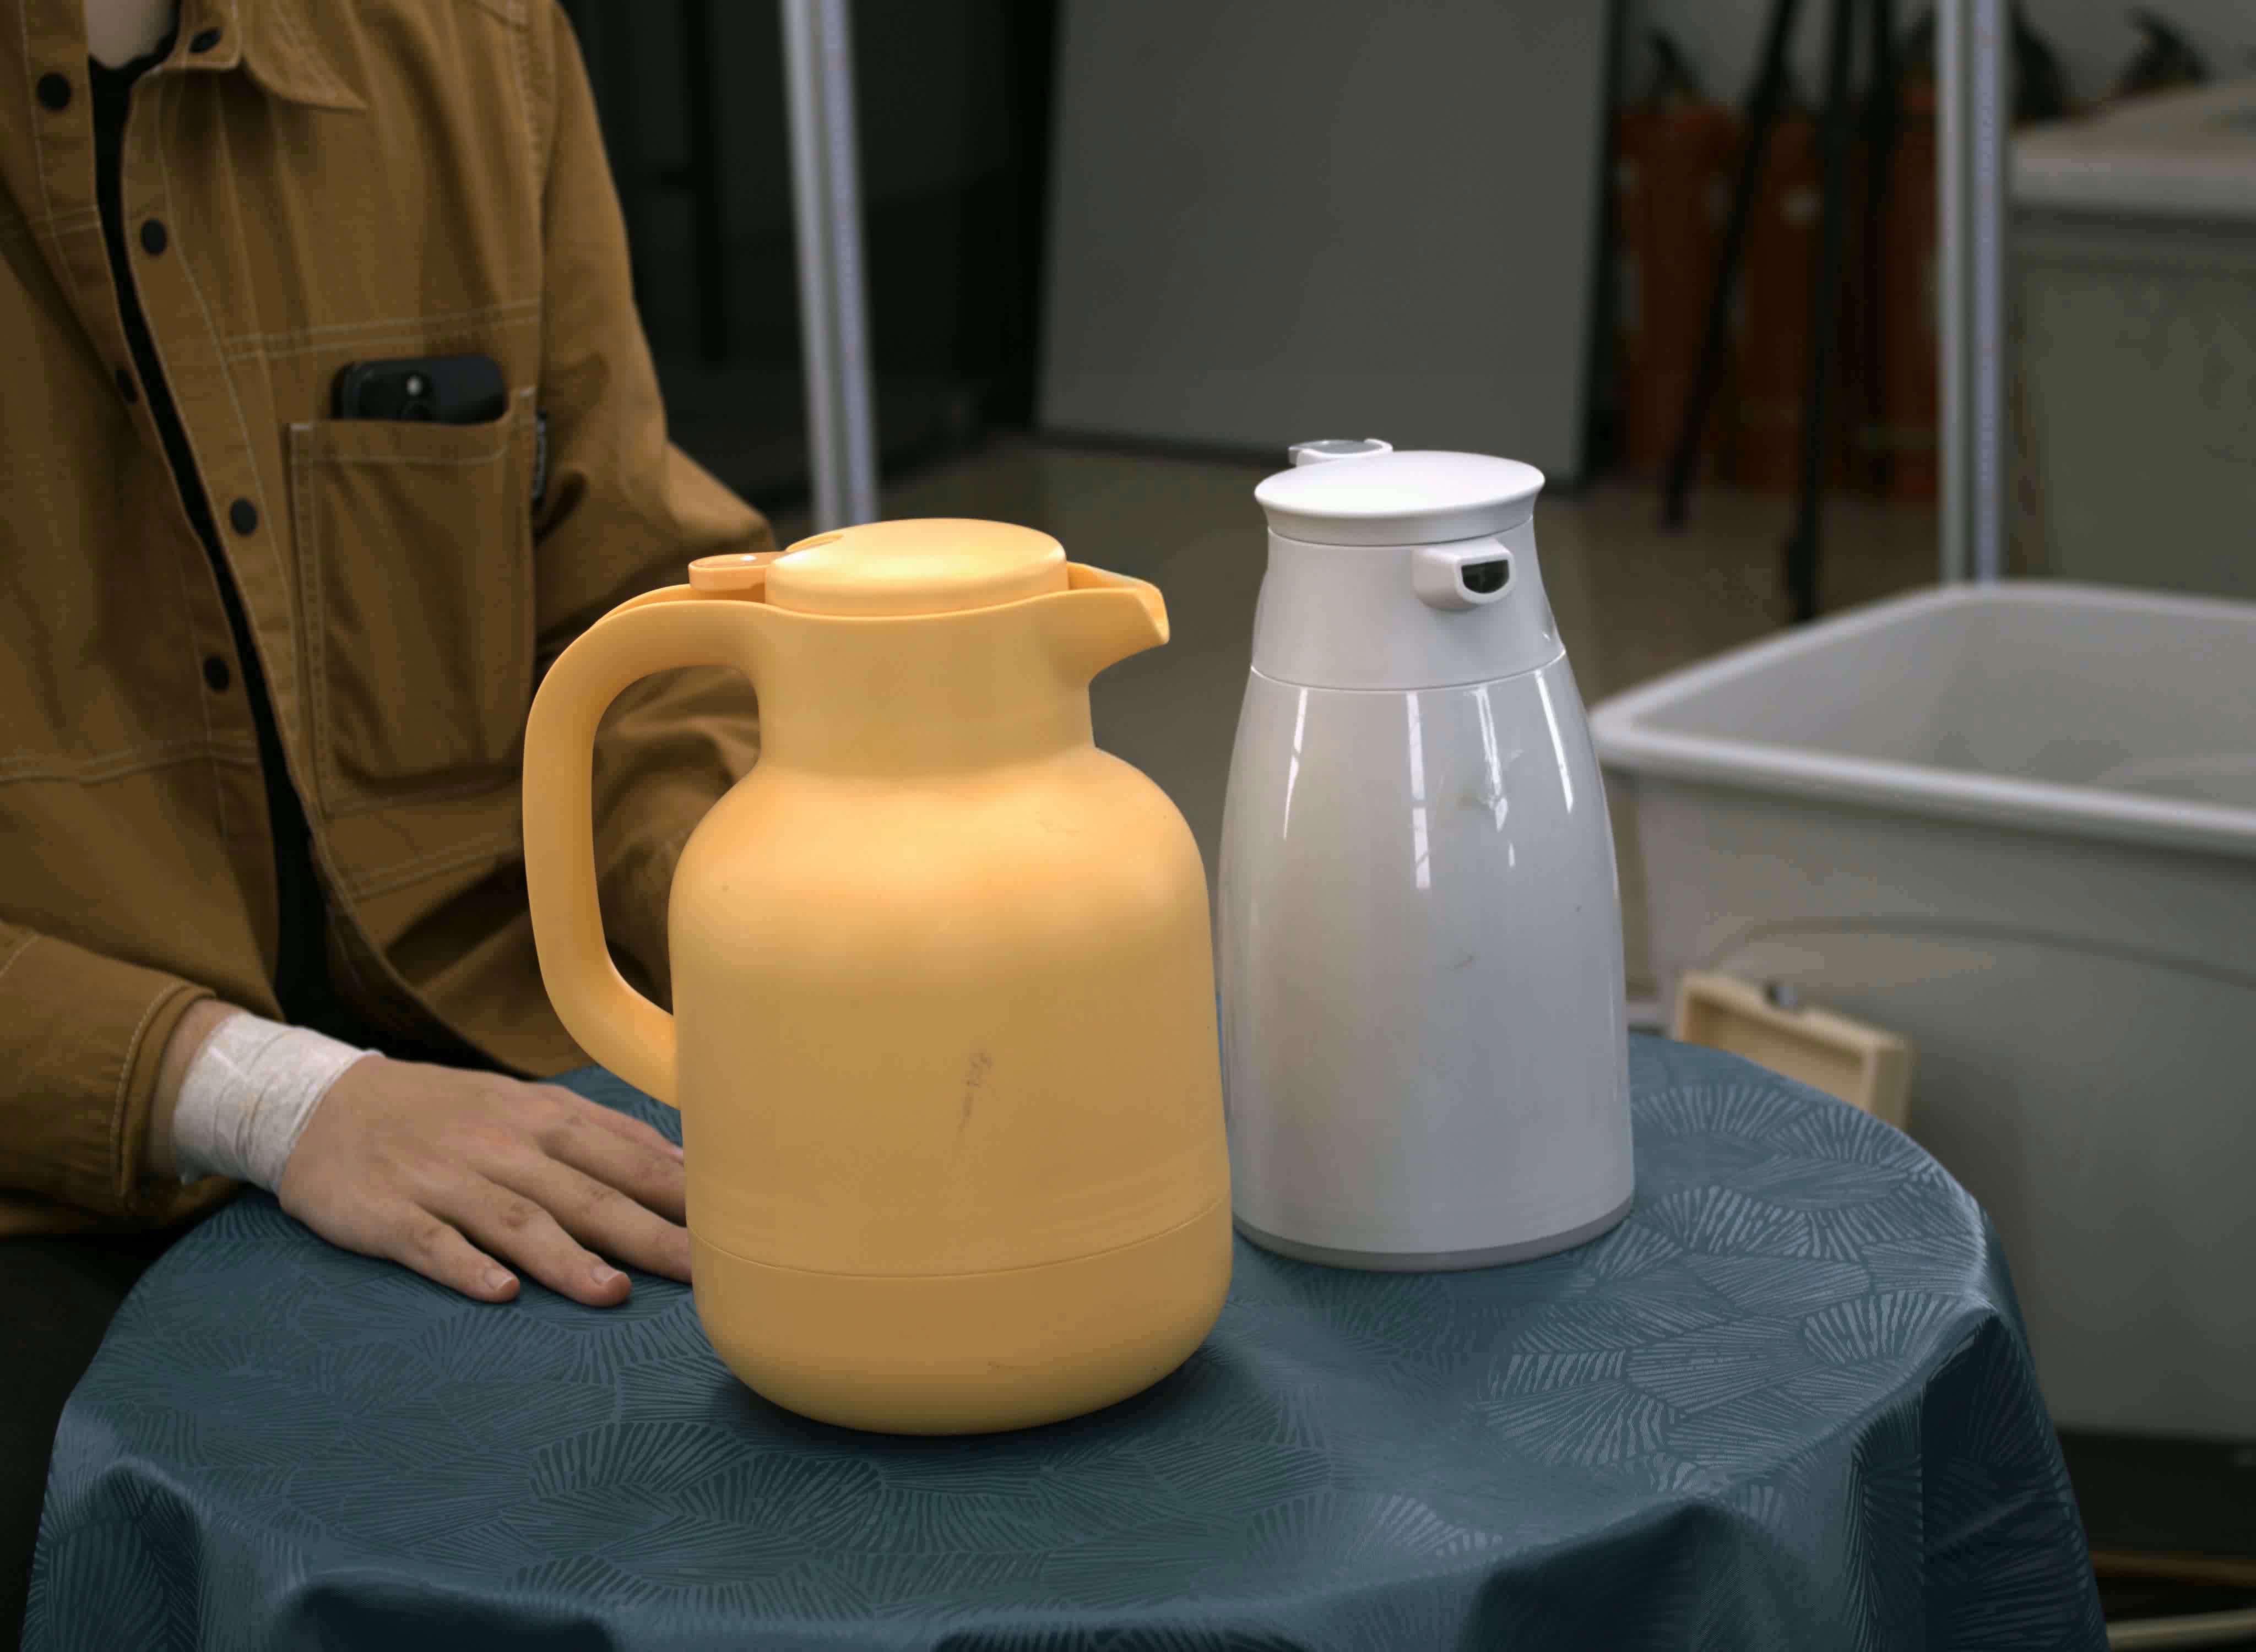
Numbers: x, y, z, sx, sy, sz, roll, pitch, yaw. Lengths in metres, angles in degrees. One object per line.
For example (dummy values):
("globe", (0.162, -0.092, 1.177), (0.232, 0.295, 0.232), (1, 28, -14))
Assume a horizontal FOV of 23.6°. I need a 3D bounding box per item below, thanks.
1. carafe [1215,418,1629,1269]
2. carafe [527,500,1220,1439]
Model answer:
("carafe", (0.082, -0.002, 1.724), (0.130, 0.251, 0.169), (-9, 14, -20))
("carafe", (-0.075, 0.038, 1.590), (0.201, 0.263, 0.162), (0, 12, 13))
